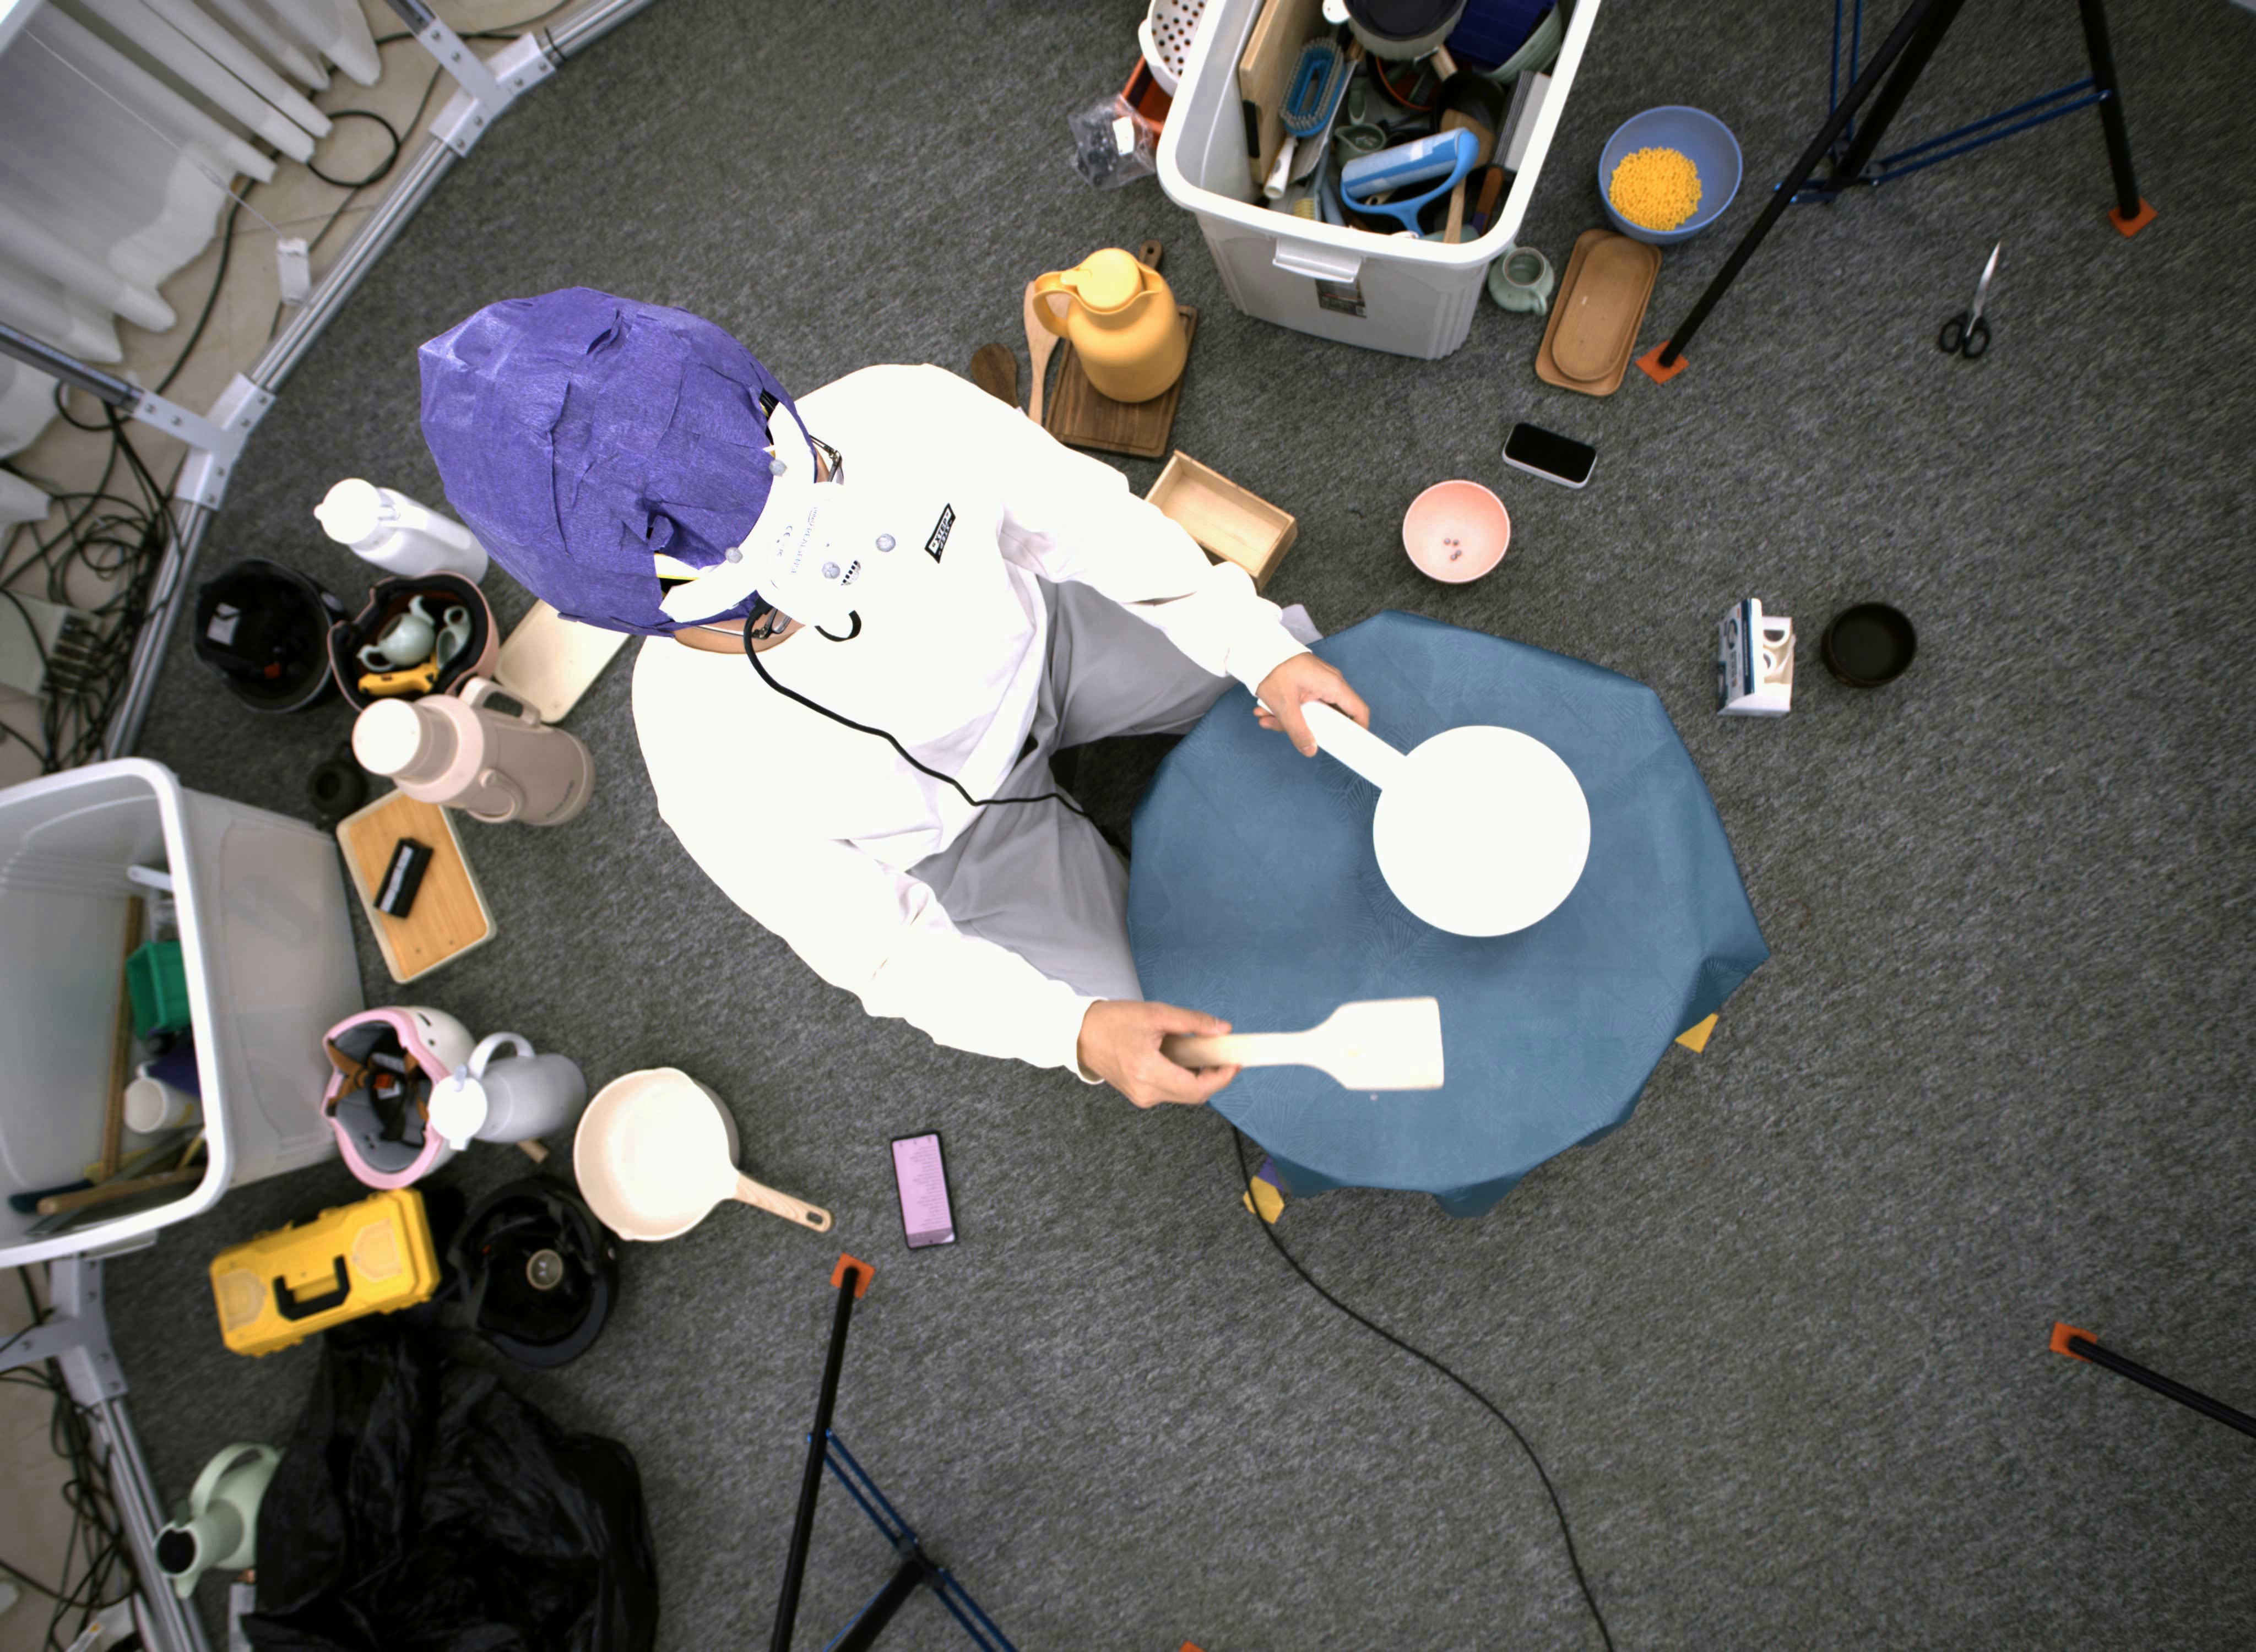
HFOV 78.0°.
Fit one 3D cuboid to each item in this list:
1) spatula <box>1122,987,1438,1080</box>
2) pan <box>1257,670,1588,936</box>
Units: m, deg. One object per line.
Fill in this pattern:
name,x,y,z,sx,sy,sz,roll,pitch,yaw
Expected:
spatula,0.120,0.180,1.166,0.296,0.010,0.072,-9,85,32
pan,0.287,-0.037,1.374,0.353,0.102,0.202,36,99,15
